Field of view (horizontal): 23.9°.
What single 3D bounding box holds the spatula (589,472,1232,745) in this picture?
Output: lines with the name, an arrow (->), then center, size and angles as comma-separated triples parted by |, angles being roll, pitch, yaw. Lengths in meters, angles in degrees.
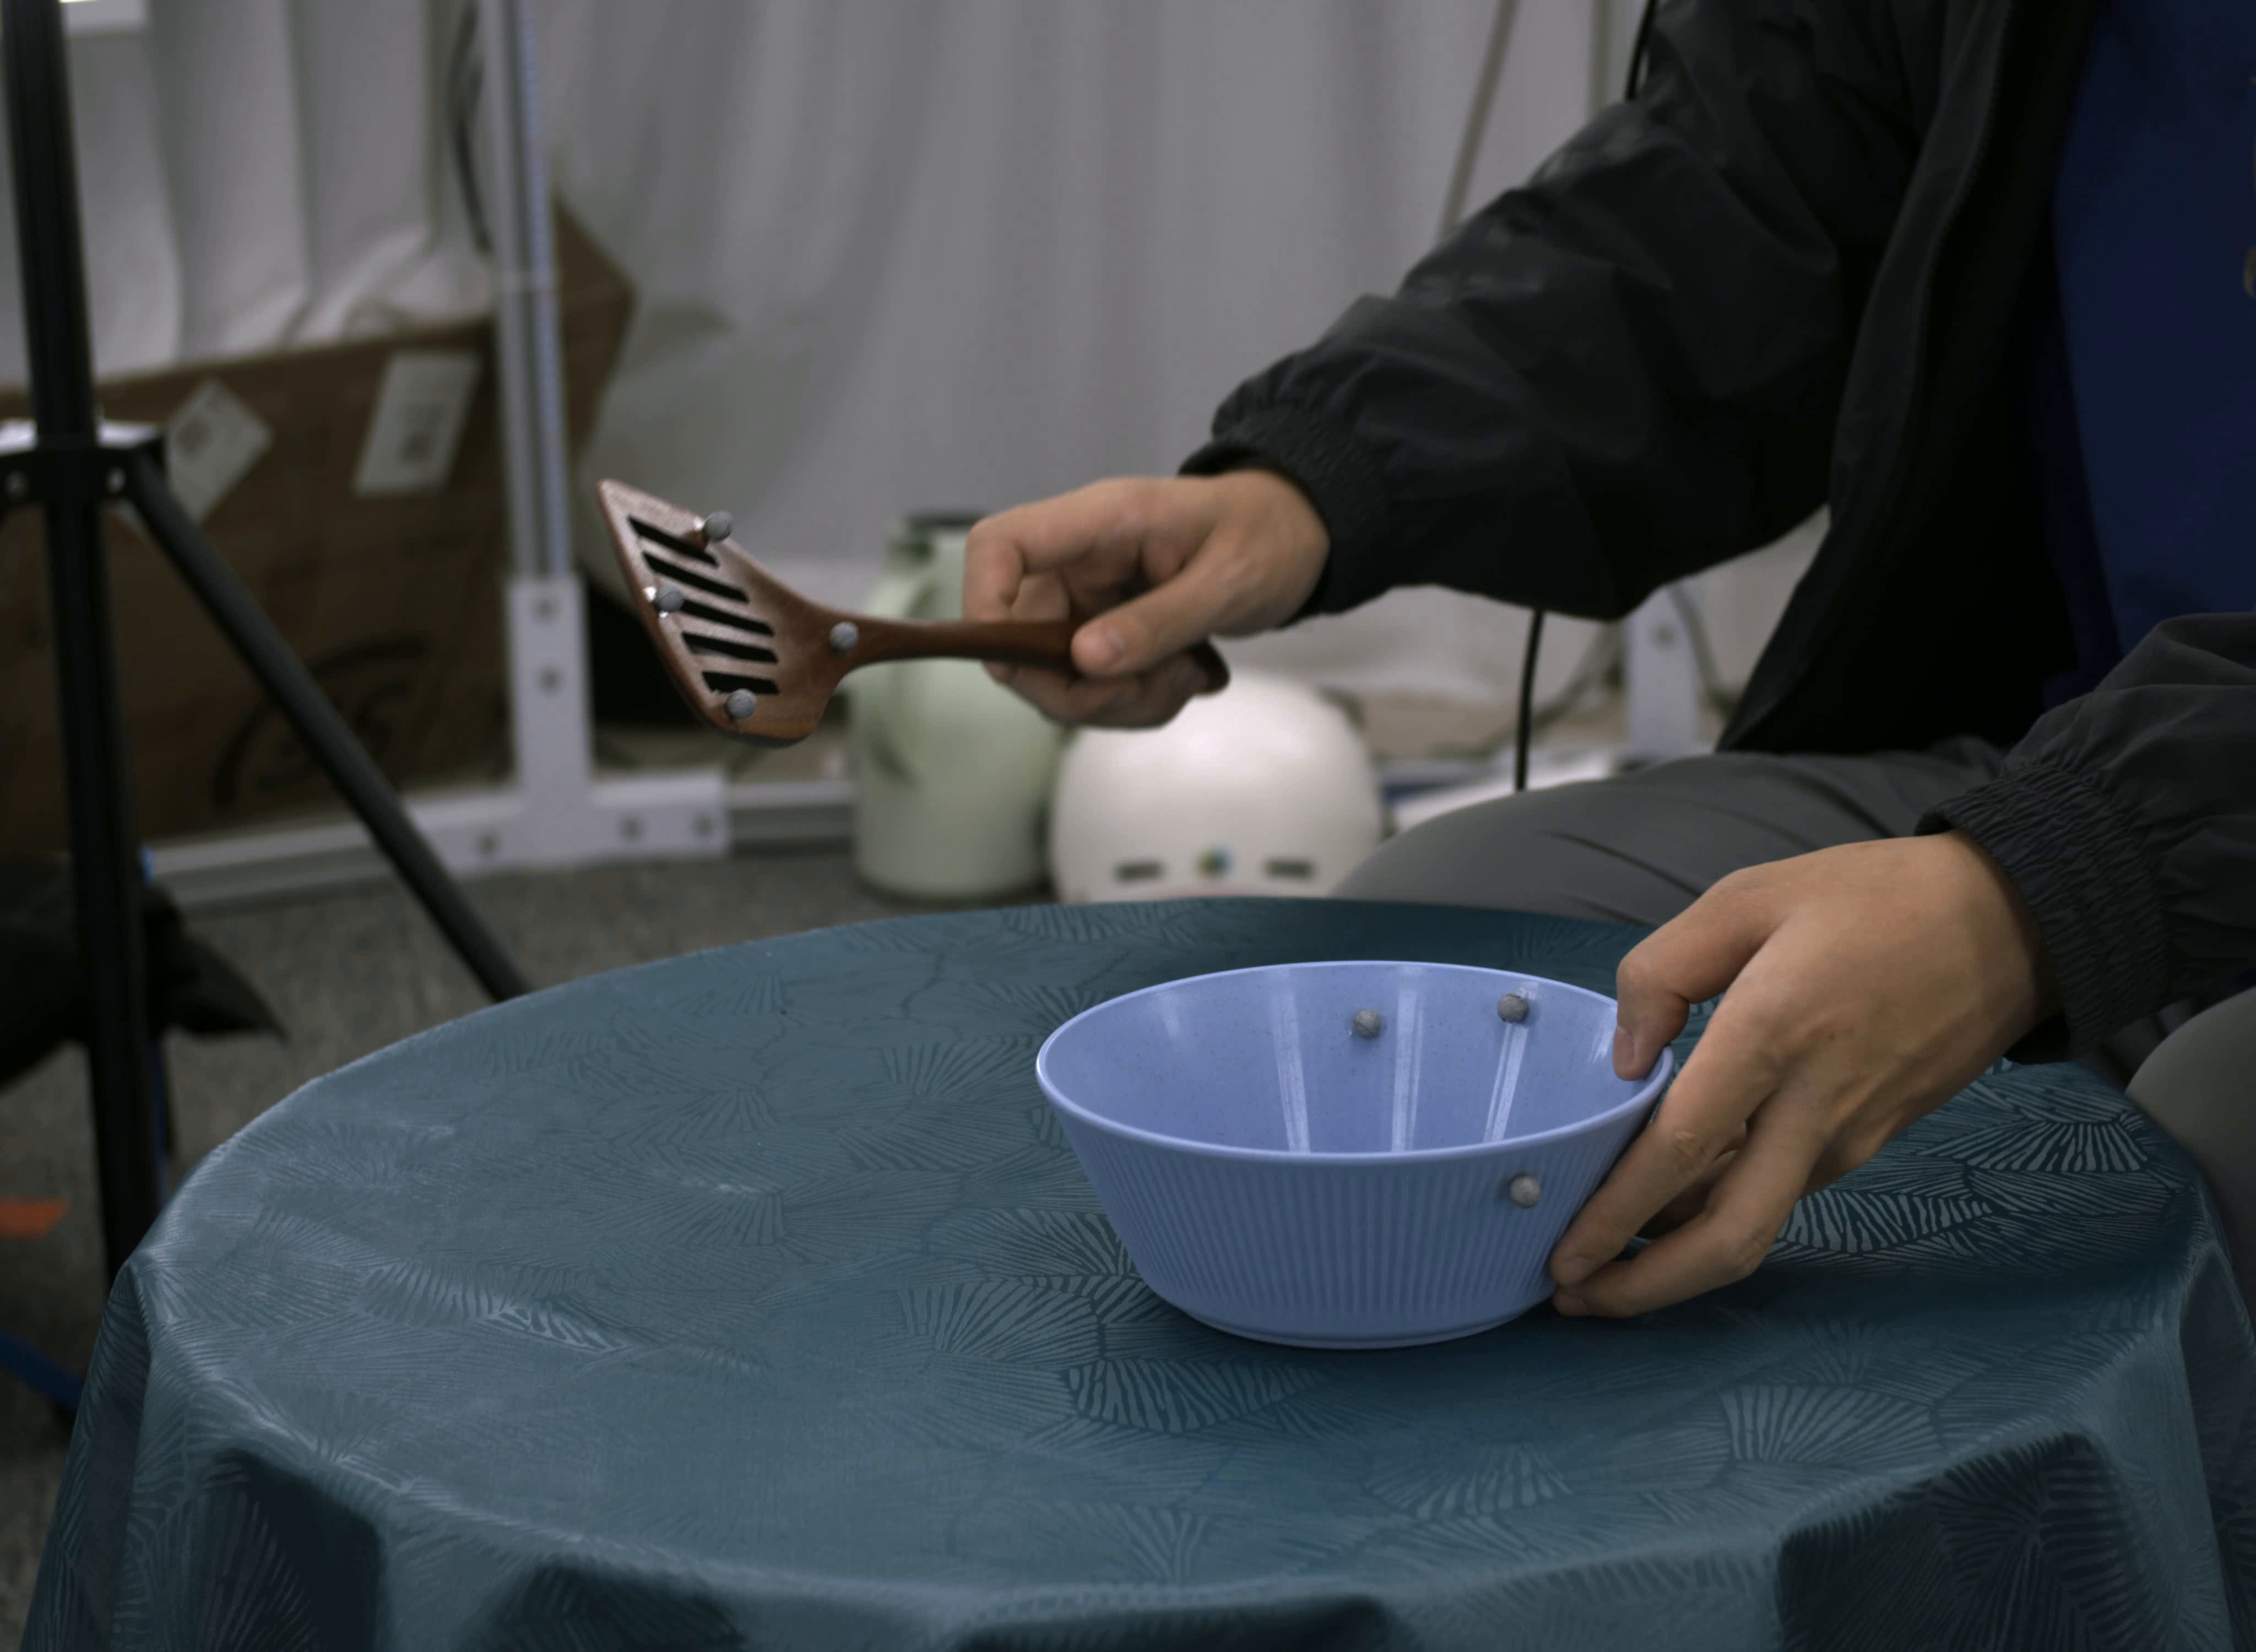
spatula -> -0.059, -0.055, 1.676 | 0.024, 0.086, 0.378 | -33, -17, 23

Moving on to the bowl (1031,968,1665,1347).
bowl -> 0.061, 0.094, 1.467 | 0.175, 0.070, 0.177 | -2, 15, -1
